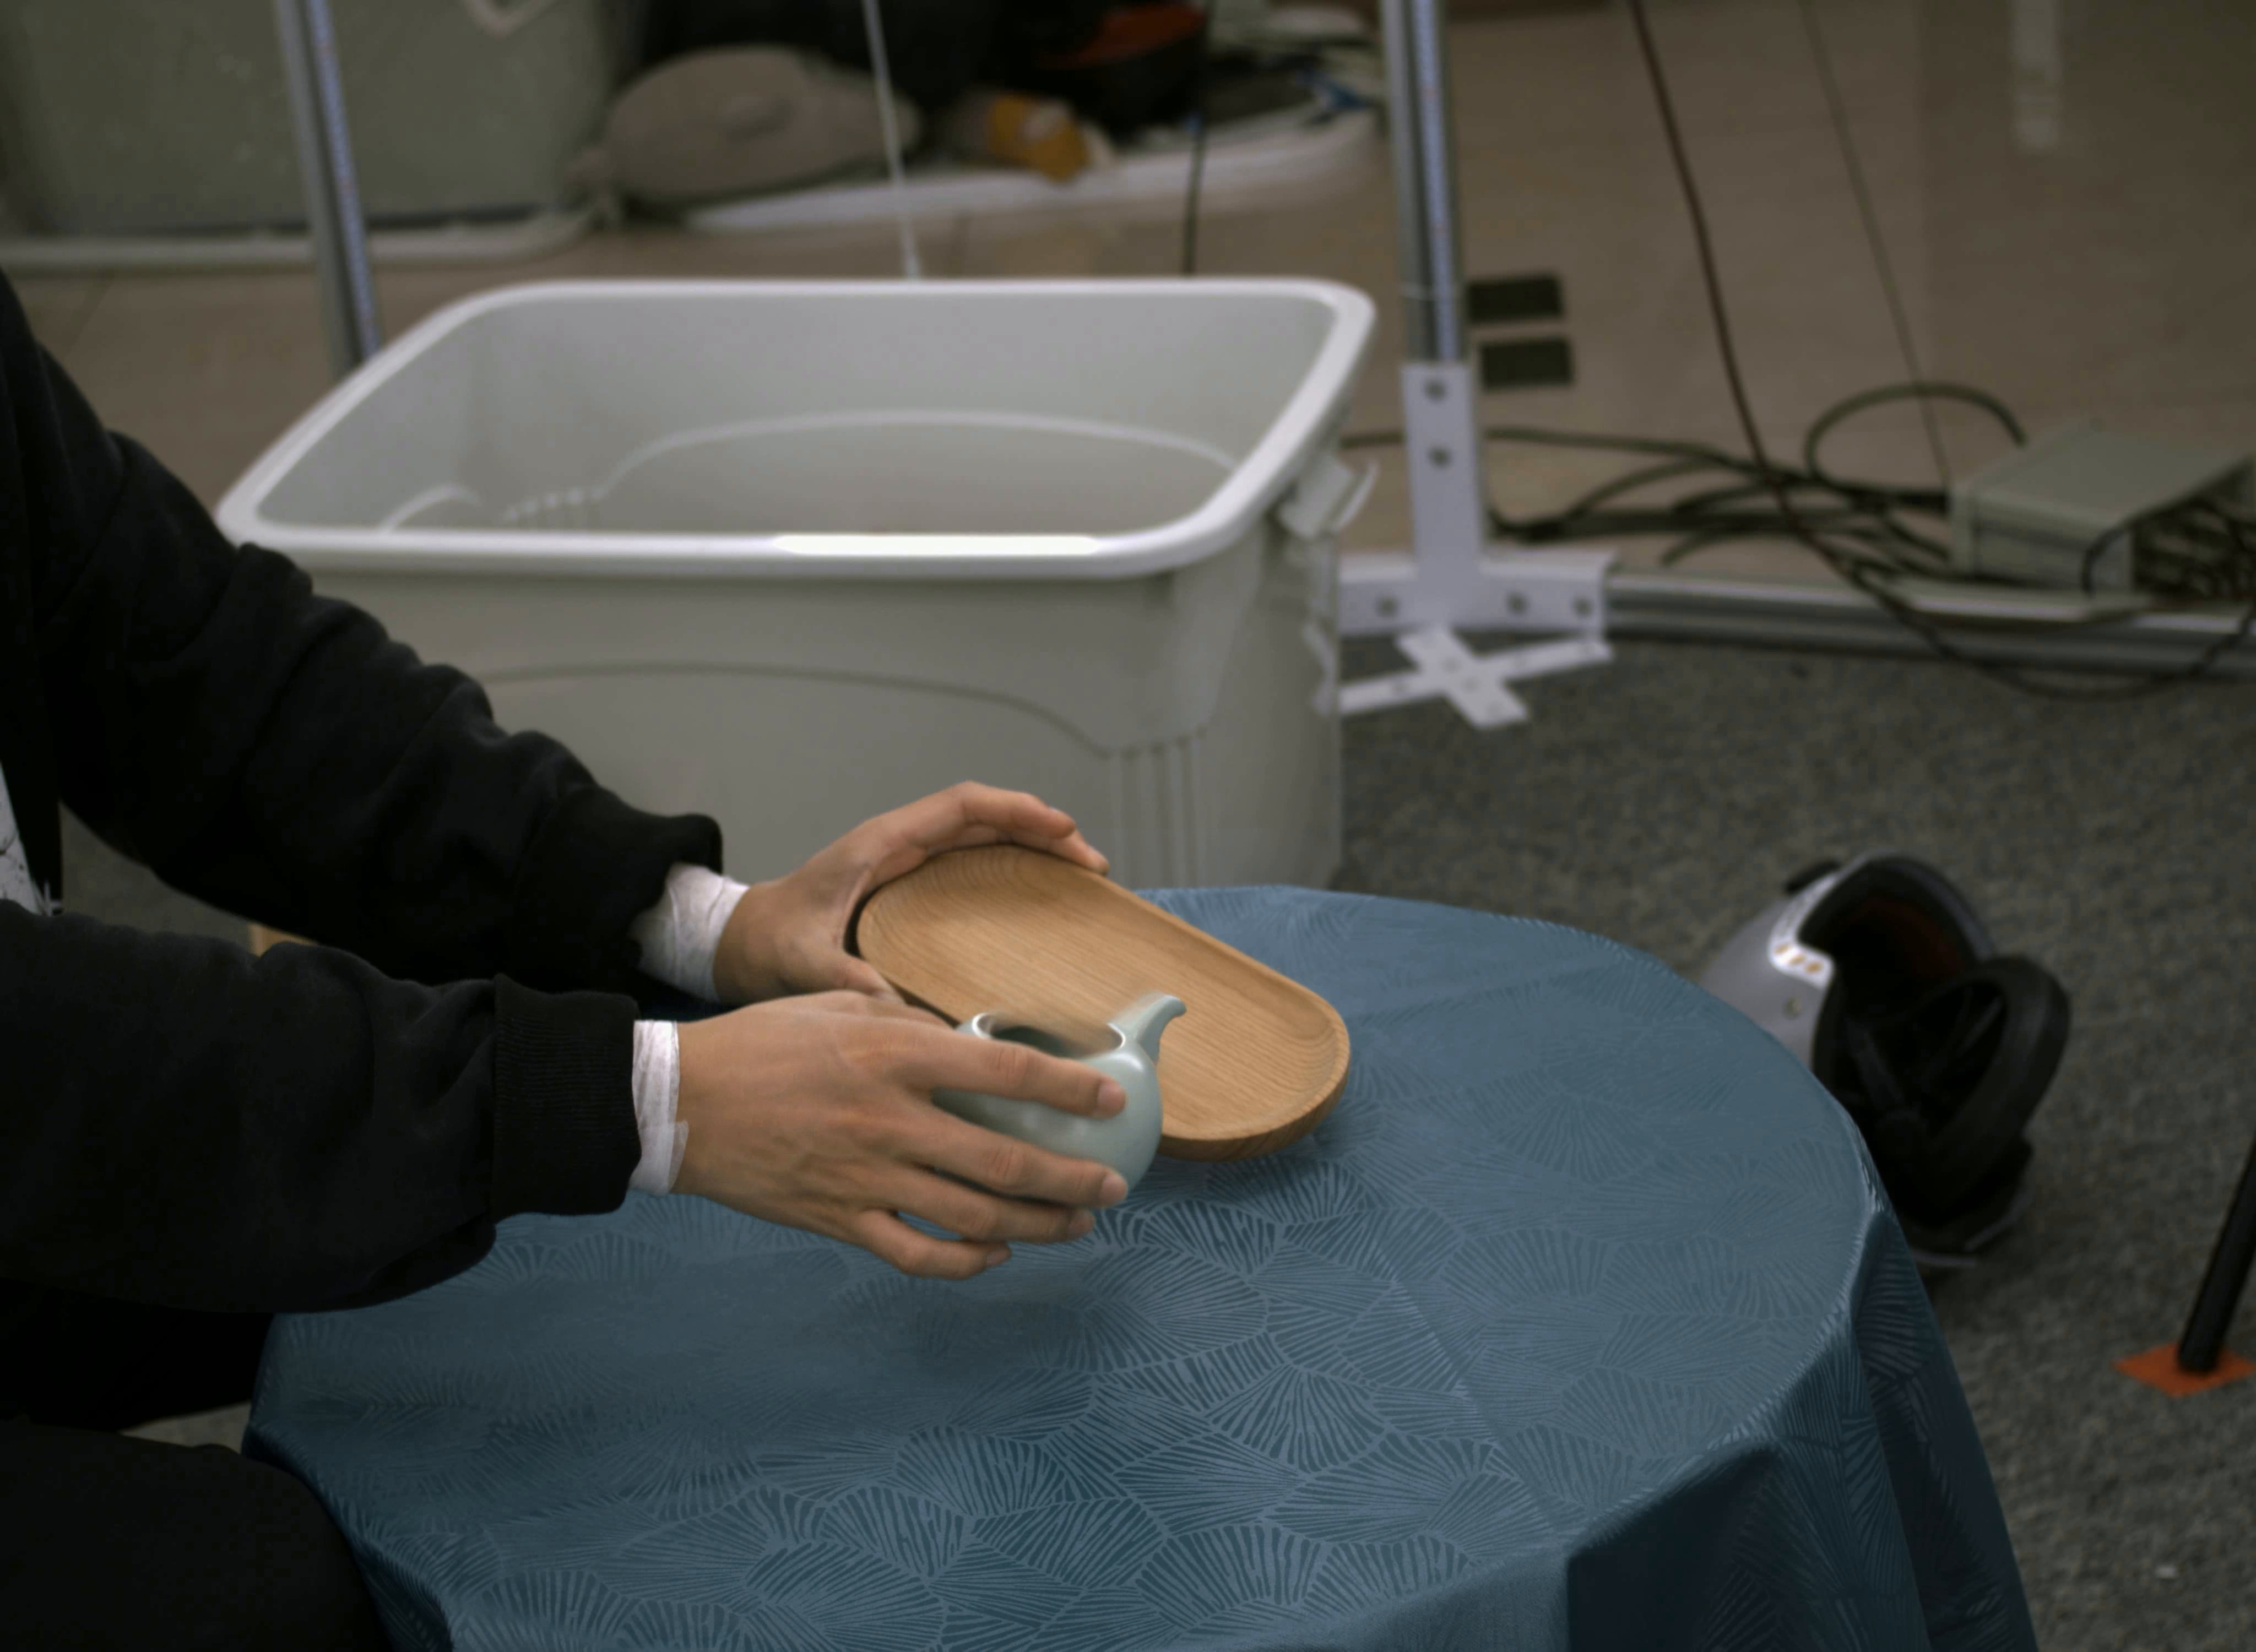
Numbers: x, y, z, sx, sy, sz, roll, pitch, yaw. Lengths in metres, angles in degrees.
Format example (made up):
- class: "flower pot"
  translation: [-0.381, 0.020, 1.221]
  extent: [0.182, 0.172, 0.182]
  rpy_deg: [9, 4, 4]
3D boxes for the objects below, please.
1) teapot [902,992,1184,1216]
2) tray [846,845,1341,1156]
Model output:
- class: "teapot"
  translation: [-0.032, 0.100, 2.049]
  extent: [0.087, 0.075, 0.143]
  rpy_deg: [19, 15, 39]
- class: "tray"
  translation: [-0.015, 0.067, 2.211]
  extent: [0.229, 0.021, 0.101]
  rpy_deg: [26, 47, 37]
